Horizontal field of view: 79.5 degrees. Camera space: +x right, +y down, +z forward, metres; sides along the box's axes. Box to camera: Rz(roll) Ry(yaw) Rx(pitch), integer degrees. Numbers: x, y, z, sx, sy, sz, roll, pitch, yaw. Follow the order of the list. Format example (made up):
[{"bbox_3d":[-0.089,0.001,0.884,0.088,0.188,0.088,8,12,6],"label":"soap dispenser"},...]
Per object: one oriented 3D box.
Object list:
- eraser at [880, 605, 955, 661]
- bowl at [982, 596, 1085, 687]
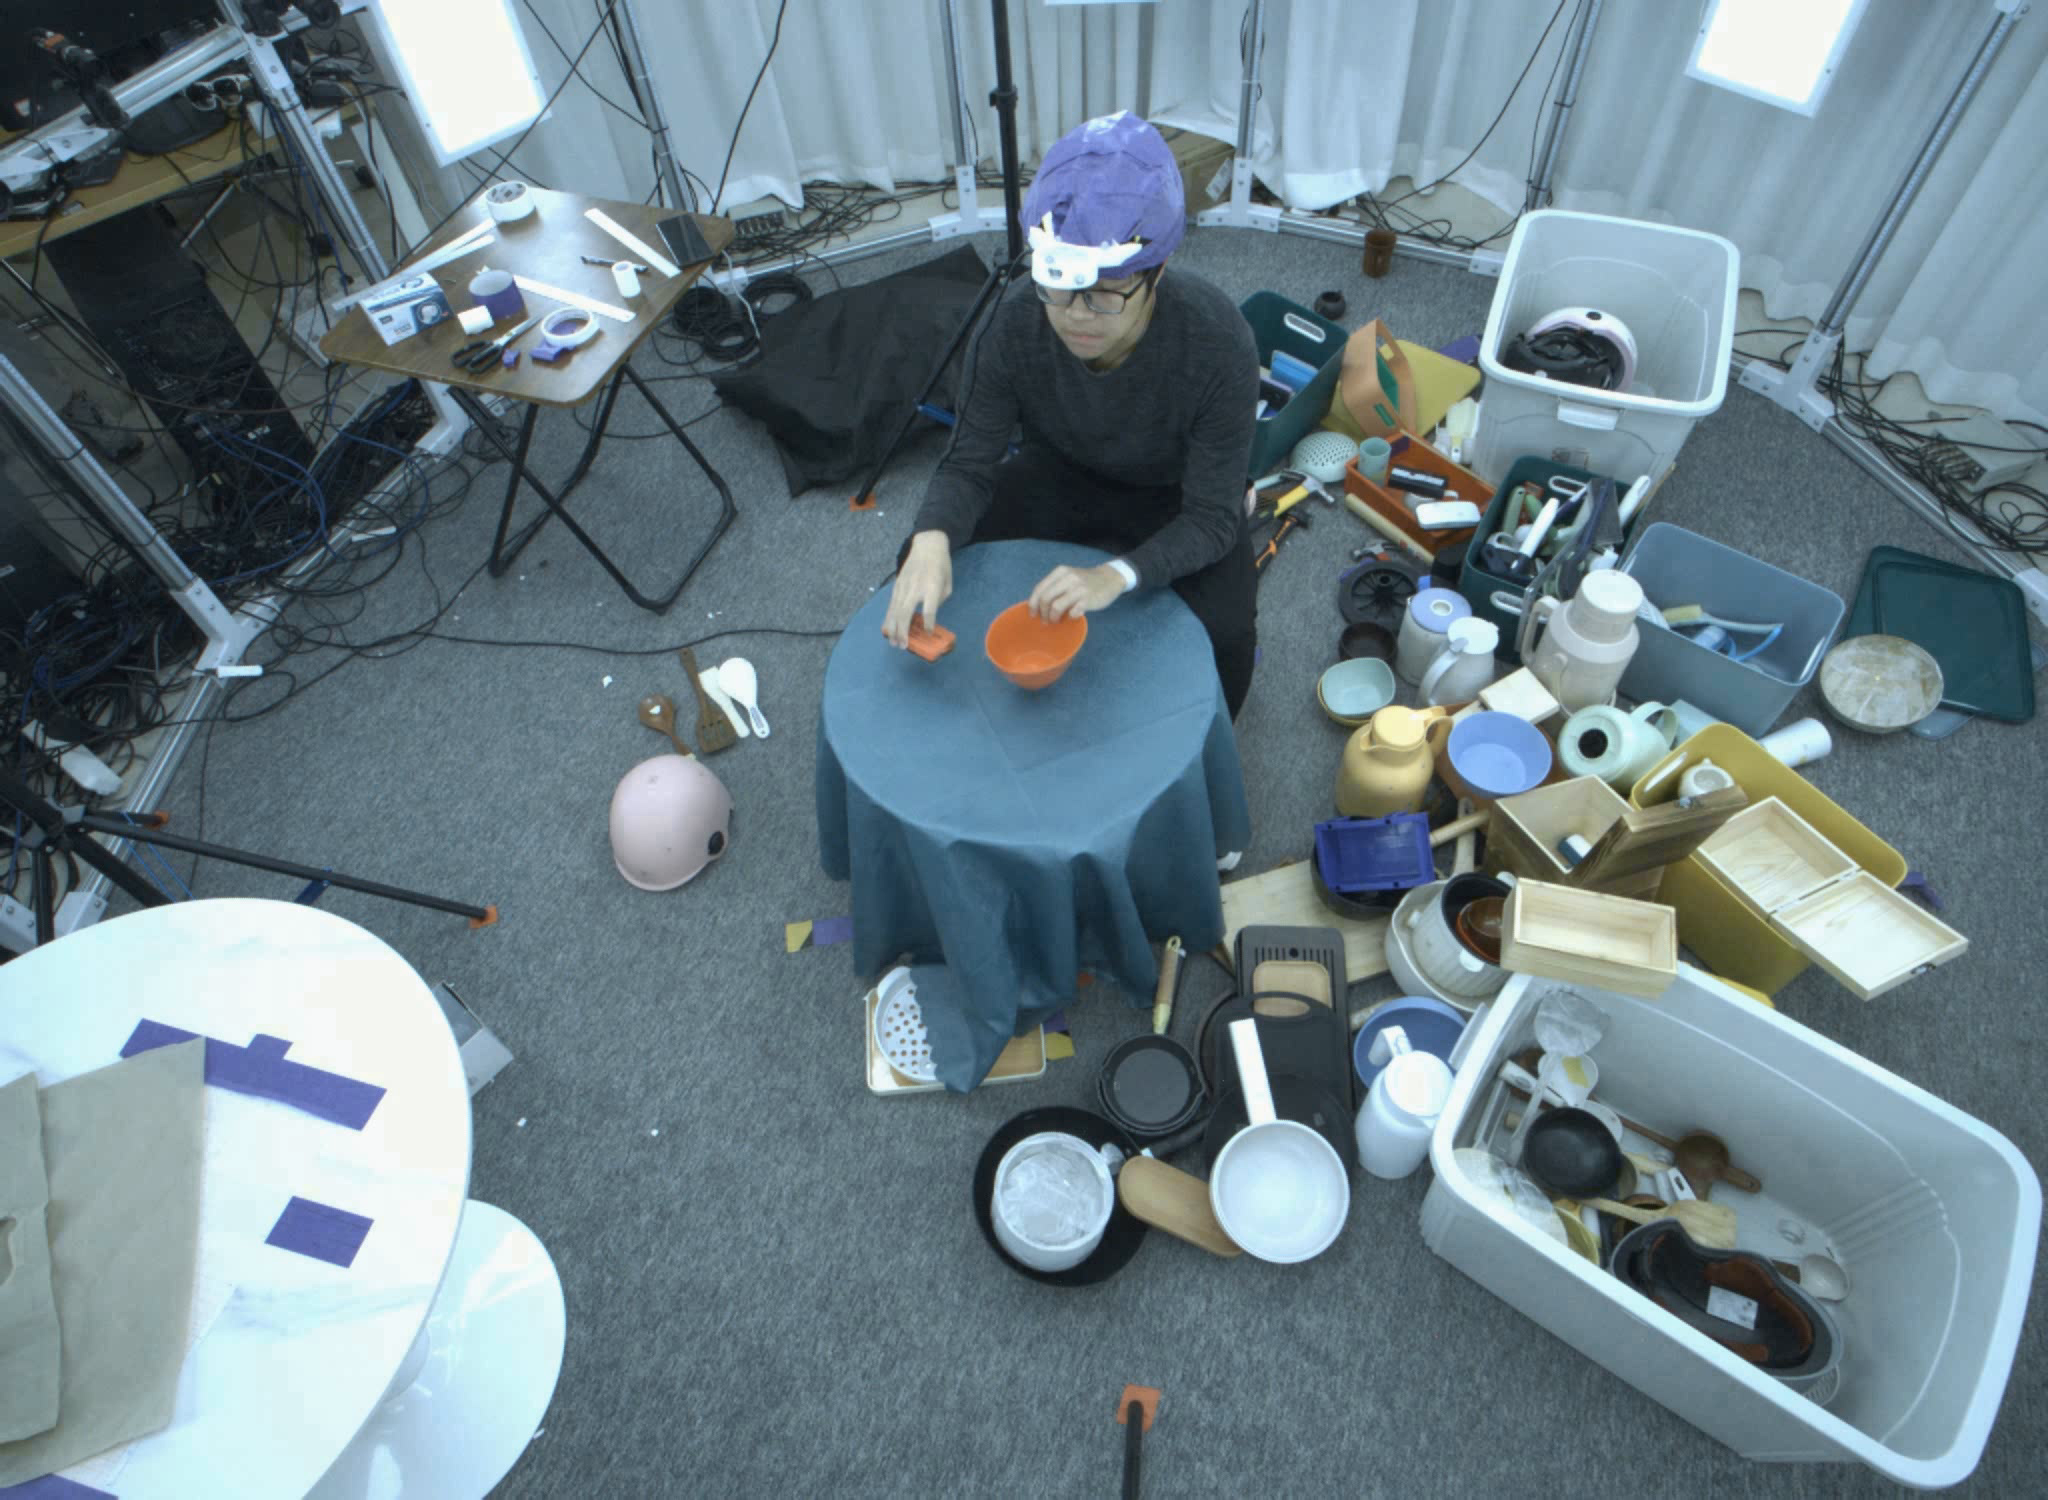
[{"bbox_3d":[-0.157,-0.173,1.804,0.106,0.023,0.059,31,53,23],"label":"eraser"},{"bbox_3d":[0.016,-0.144,1.783,0.148,0.106,0.146,-2,56,4],"label":"bowl"}]
